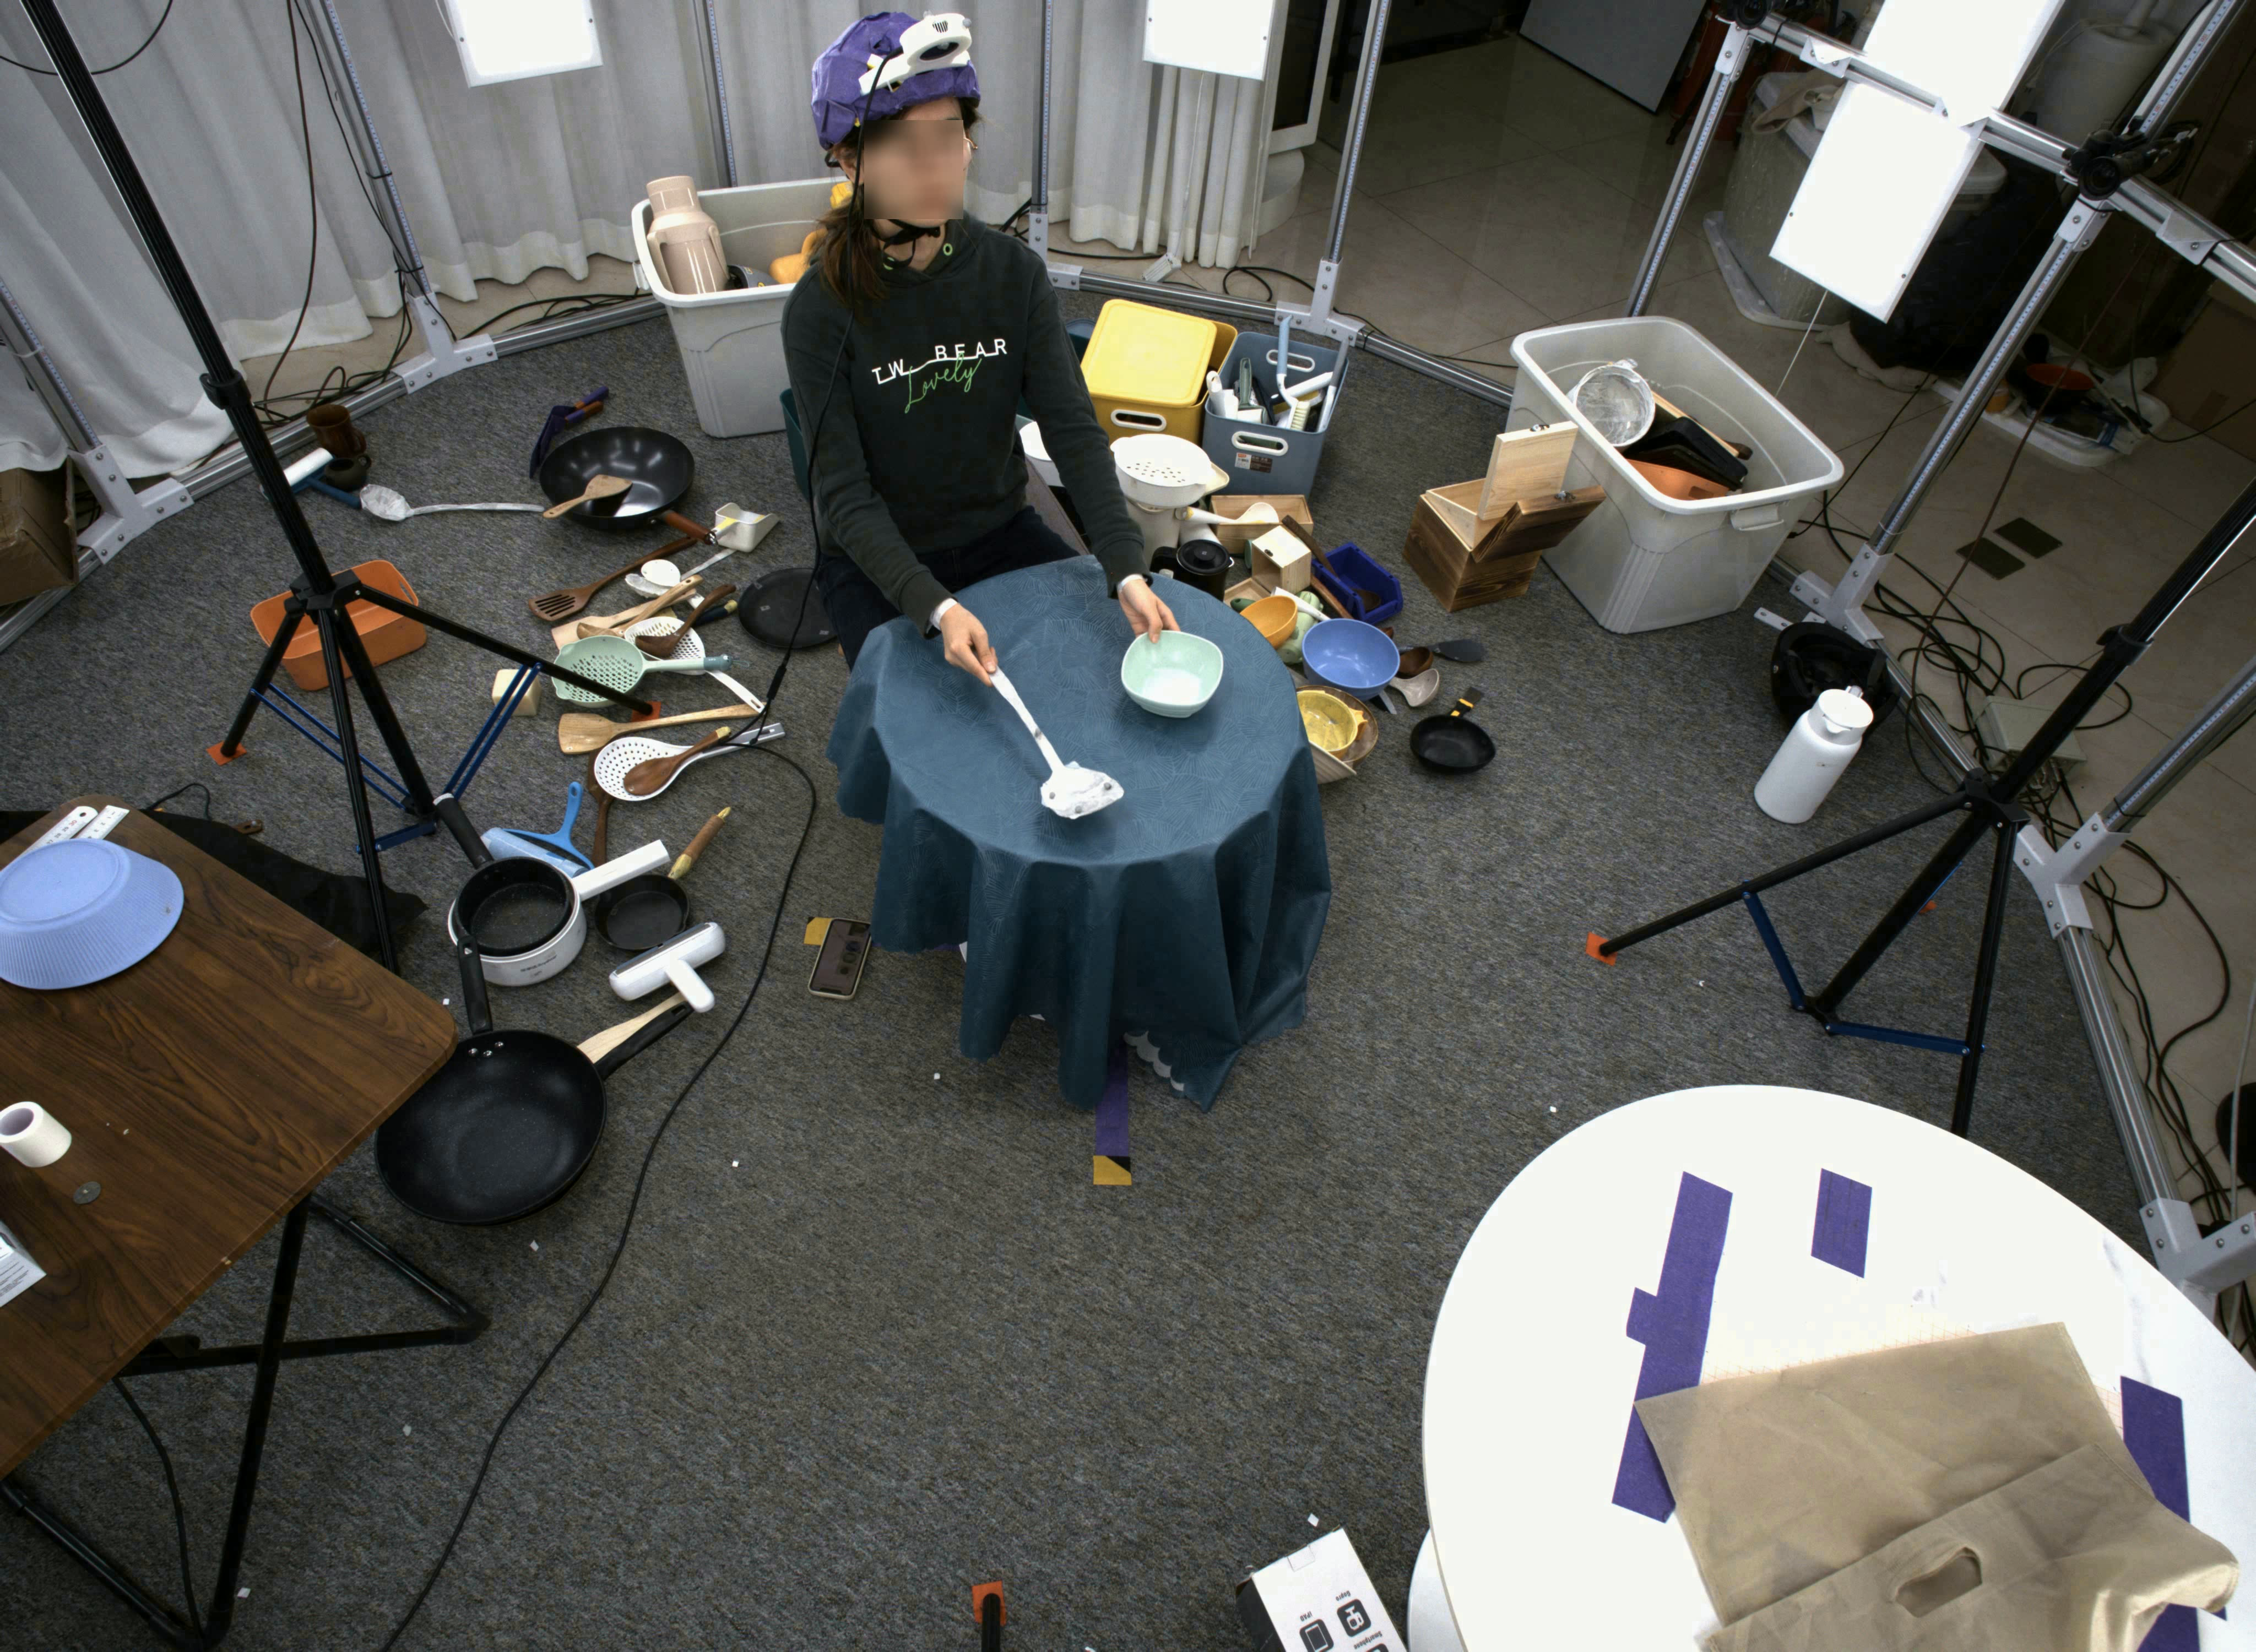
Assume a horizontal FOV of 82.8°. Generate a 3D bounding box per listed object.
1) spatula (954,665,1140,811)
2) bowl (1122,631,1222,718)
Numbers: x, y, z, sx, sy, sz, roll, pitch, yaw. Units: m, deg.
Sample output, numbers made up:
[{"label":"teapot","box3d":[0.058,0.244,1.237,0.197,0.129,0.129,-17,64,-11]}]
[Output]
[{"label":"spatula","box3d":[-0.129,-0.126,1.716,0.099,0.044,0.371,-21,53,-36]},{"label":"bowl","box3d":[0.061,-0.206,1.825,0.151,0.057,0.155,1,53,-2]}]
